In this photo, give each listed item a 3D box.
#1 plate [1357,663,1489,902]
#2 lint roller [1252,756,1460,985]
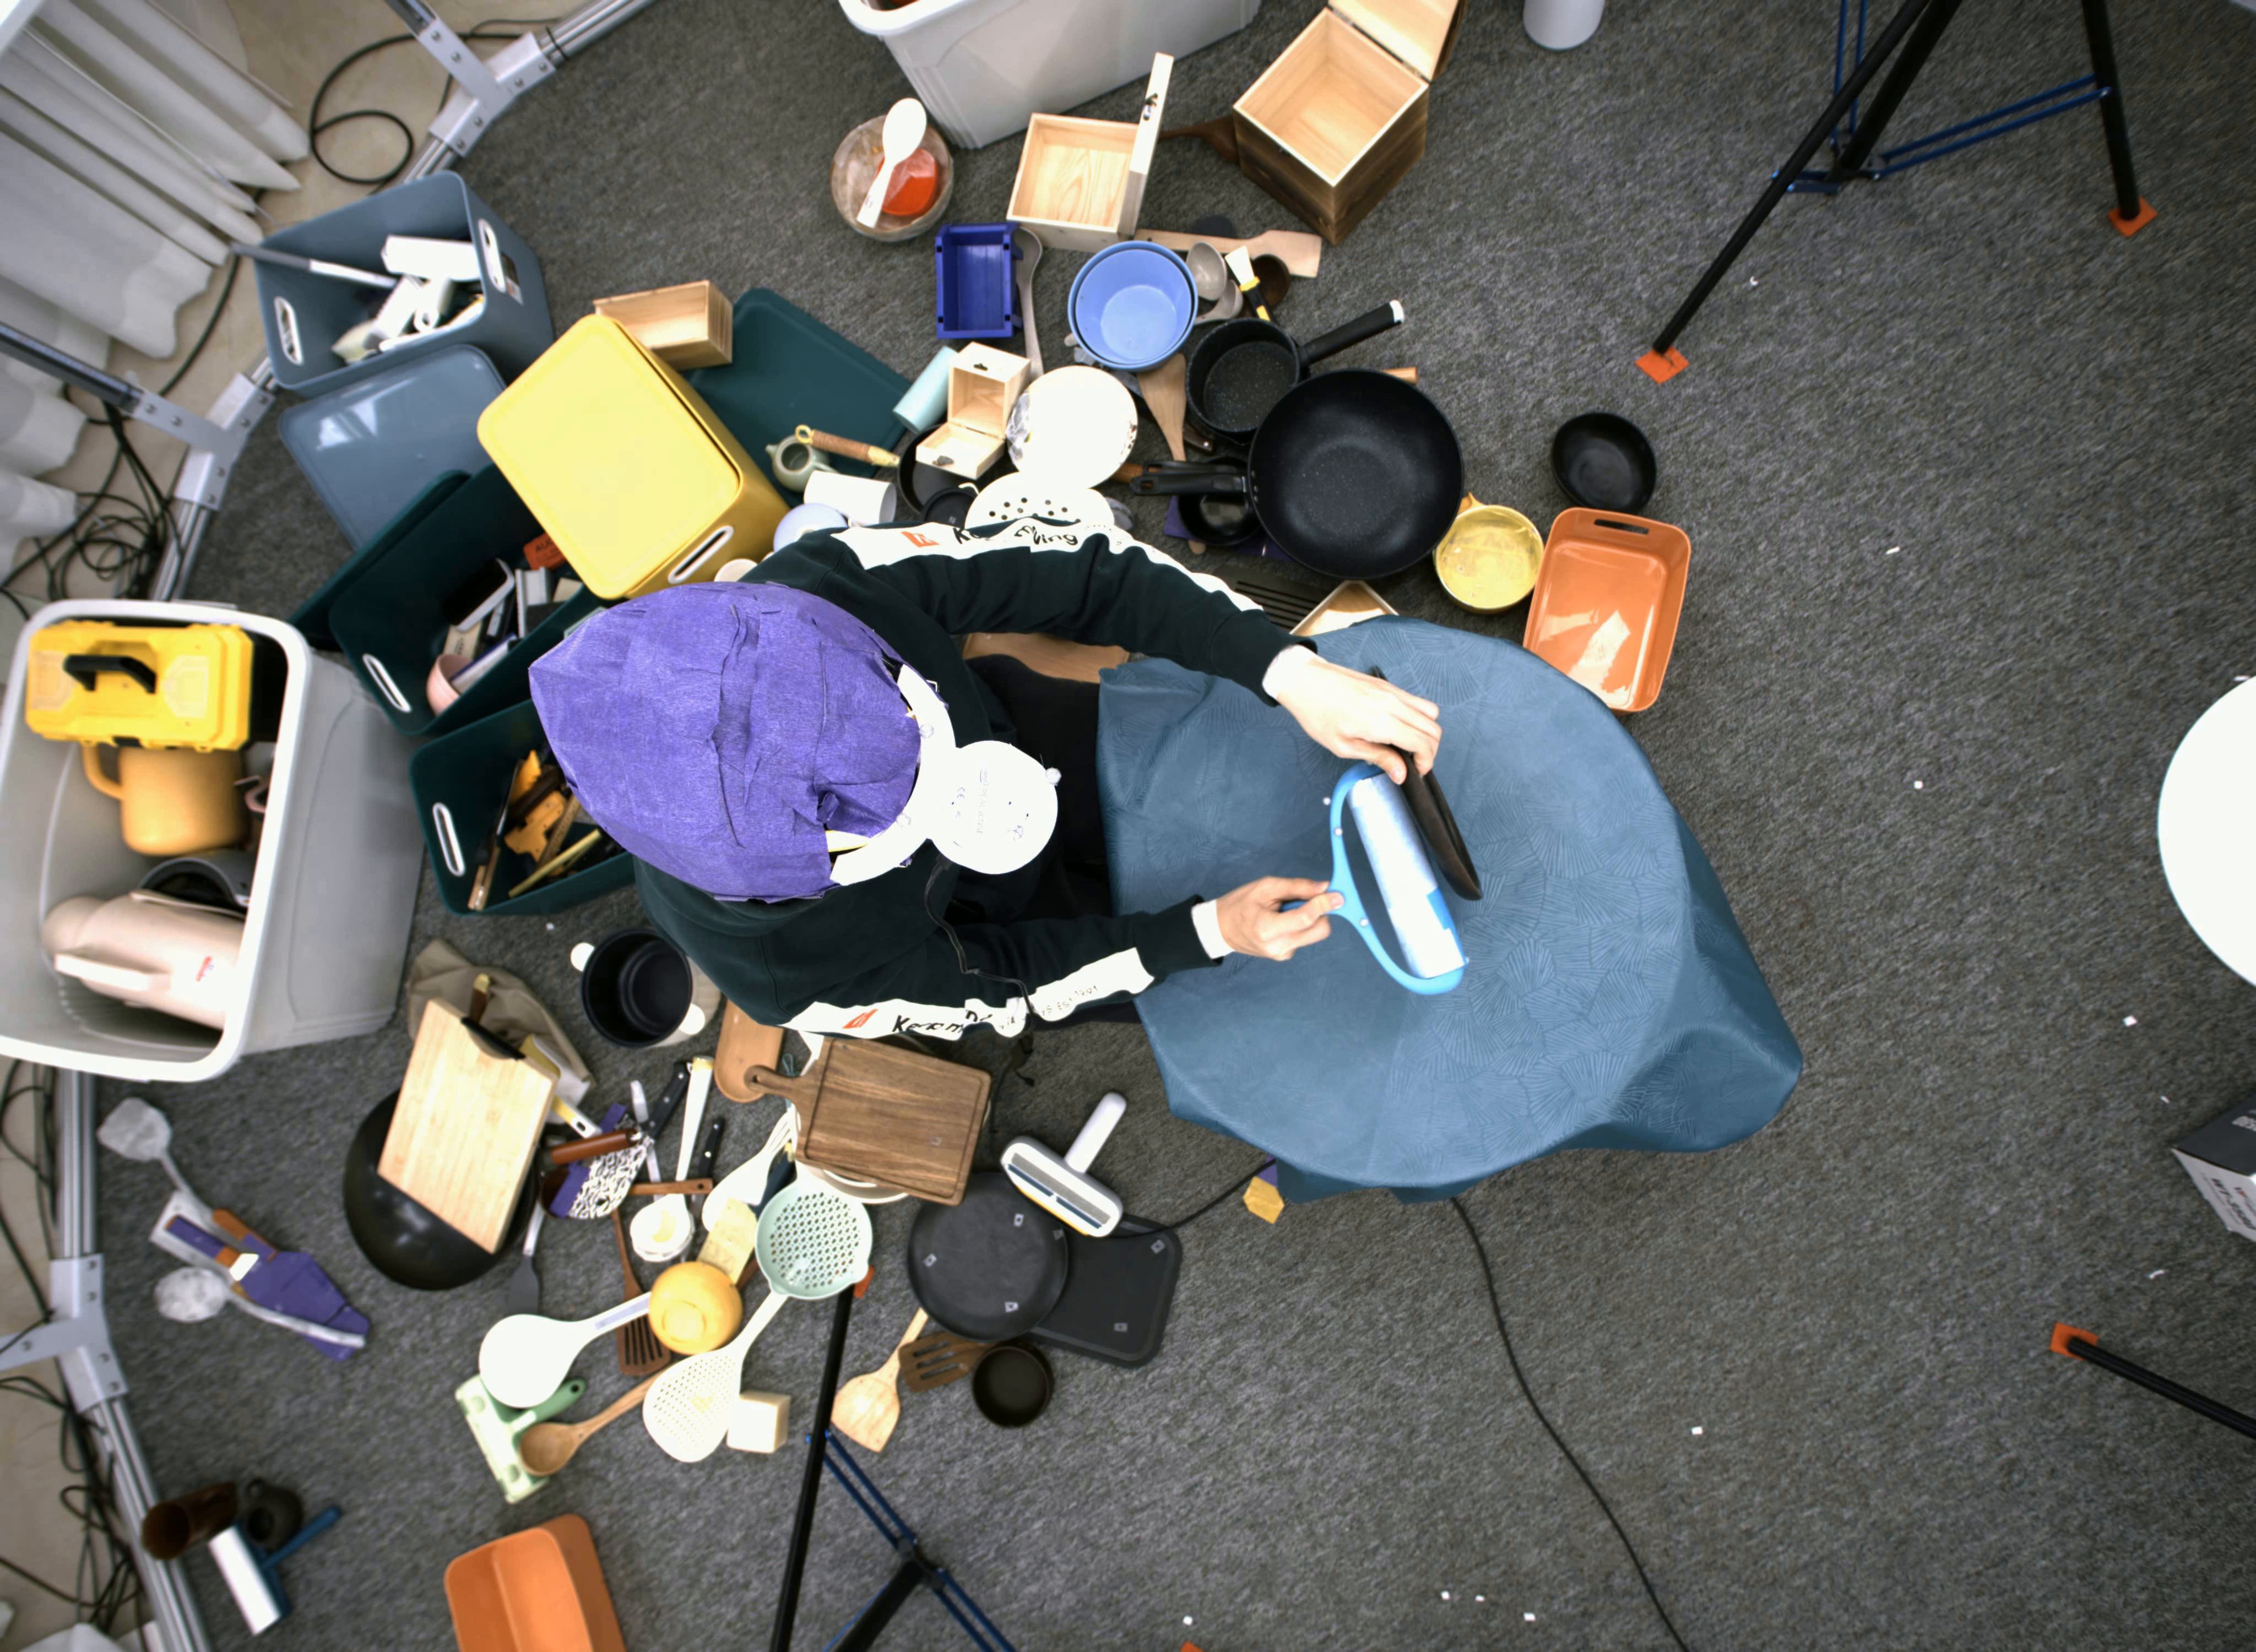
[{"bbox_3d":[0.283,-0.042,1.334,0.029,0.254,0.253,-26,81,15],"label":"plate"},{"bbox_3d":[0.202,0.065,1.327,0.182,0.067,0.229,-25,91,13],"label":"lint roller"}]
